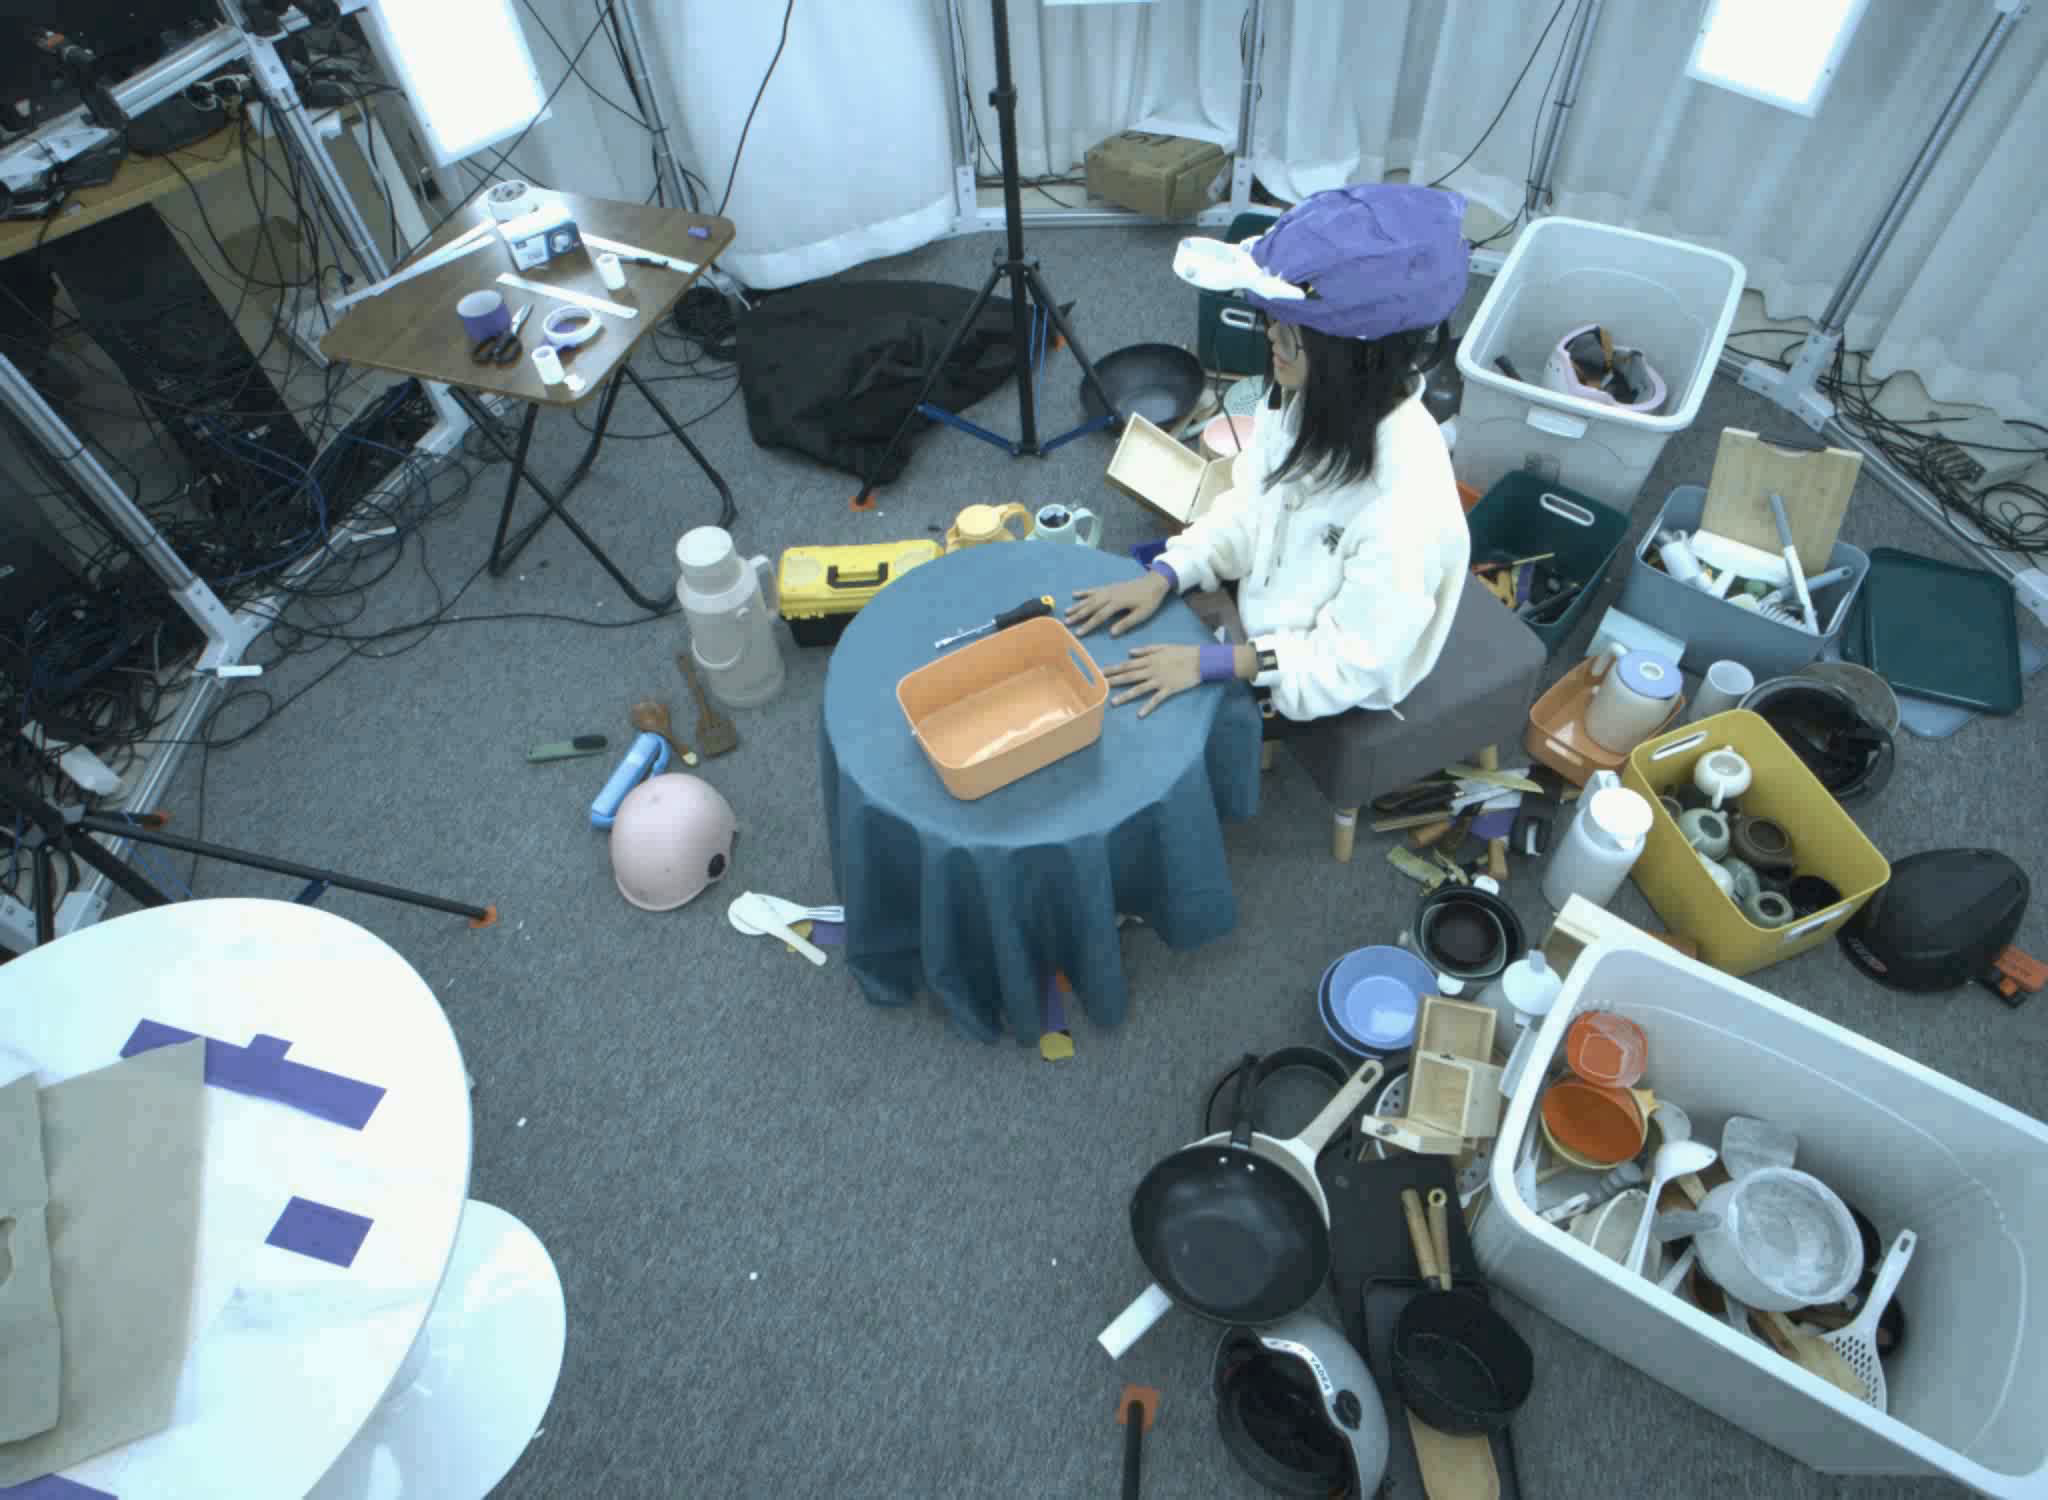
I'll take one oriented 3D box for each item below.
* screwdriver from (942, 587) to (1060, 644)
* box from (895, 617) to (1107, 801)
[{"bbox_3d":[-0.035,-0.203,1.904,0.198,0.032,0.031,-27,58,-6],"label":"screwdriver"},{"bbox_3d":[-0.028,-0.055,1.764,0.275,0.104,0.195,-26,57,-15],"label":"box"}]
